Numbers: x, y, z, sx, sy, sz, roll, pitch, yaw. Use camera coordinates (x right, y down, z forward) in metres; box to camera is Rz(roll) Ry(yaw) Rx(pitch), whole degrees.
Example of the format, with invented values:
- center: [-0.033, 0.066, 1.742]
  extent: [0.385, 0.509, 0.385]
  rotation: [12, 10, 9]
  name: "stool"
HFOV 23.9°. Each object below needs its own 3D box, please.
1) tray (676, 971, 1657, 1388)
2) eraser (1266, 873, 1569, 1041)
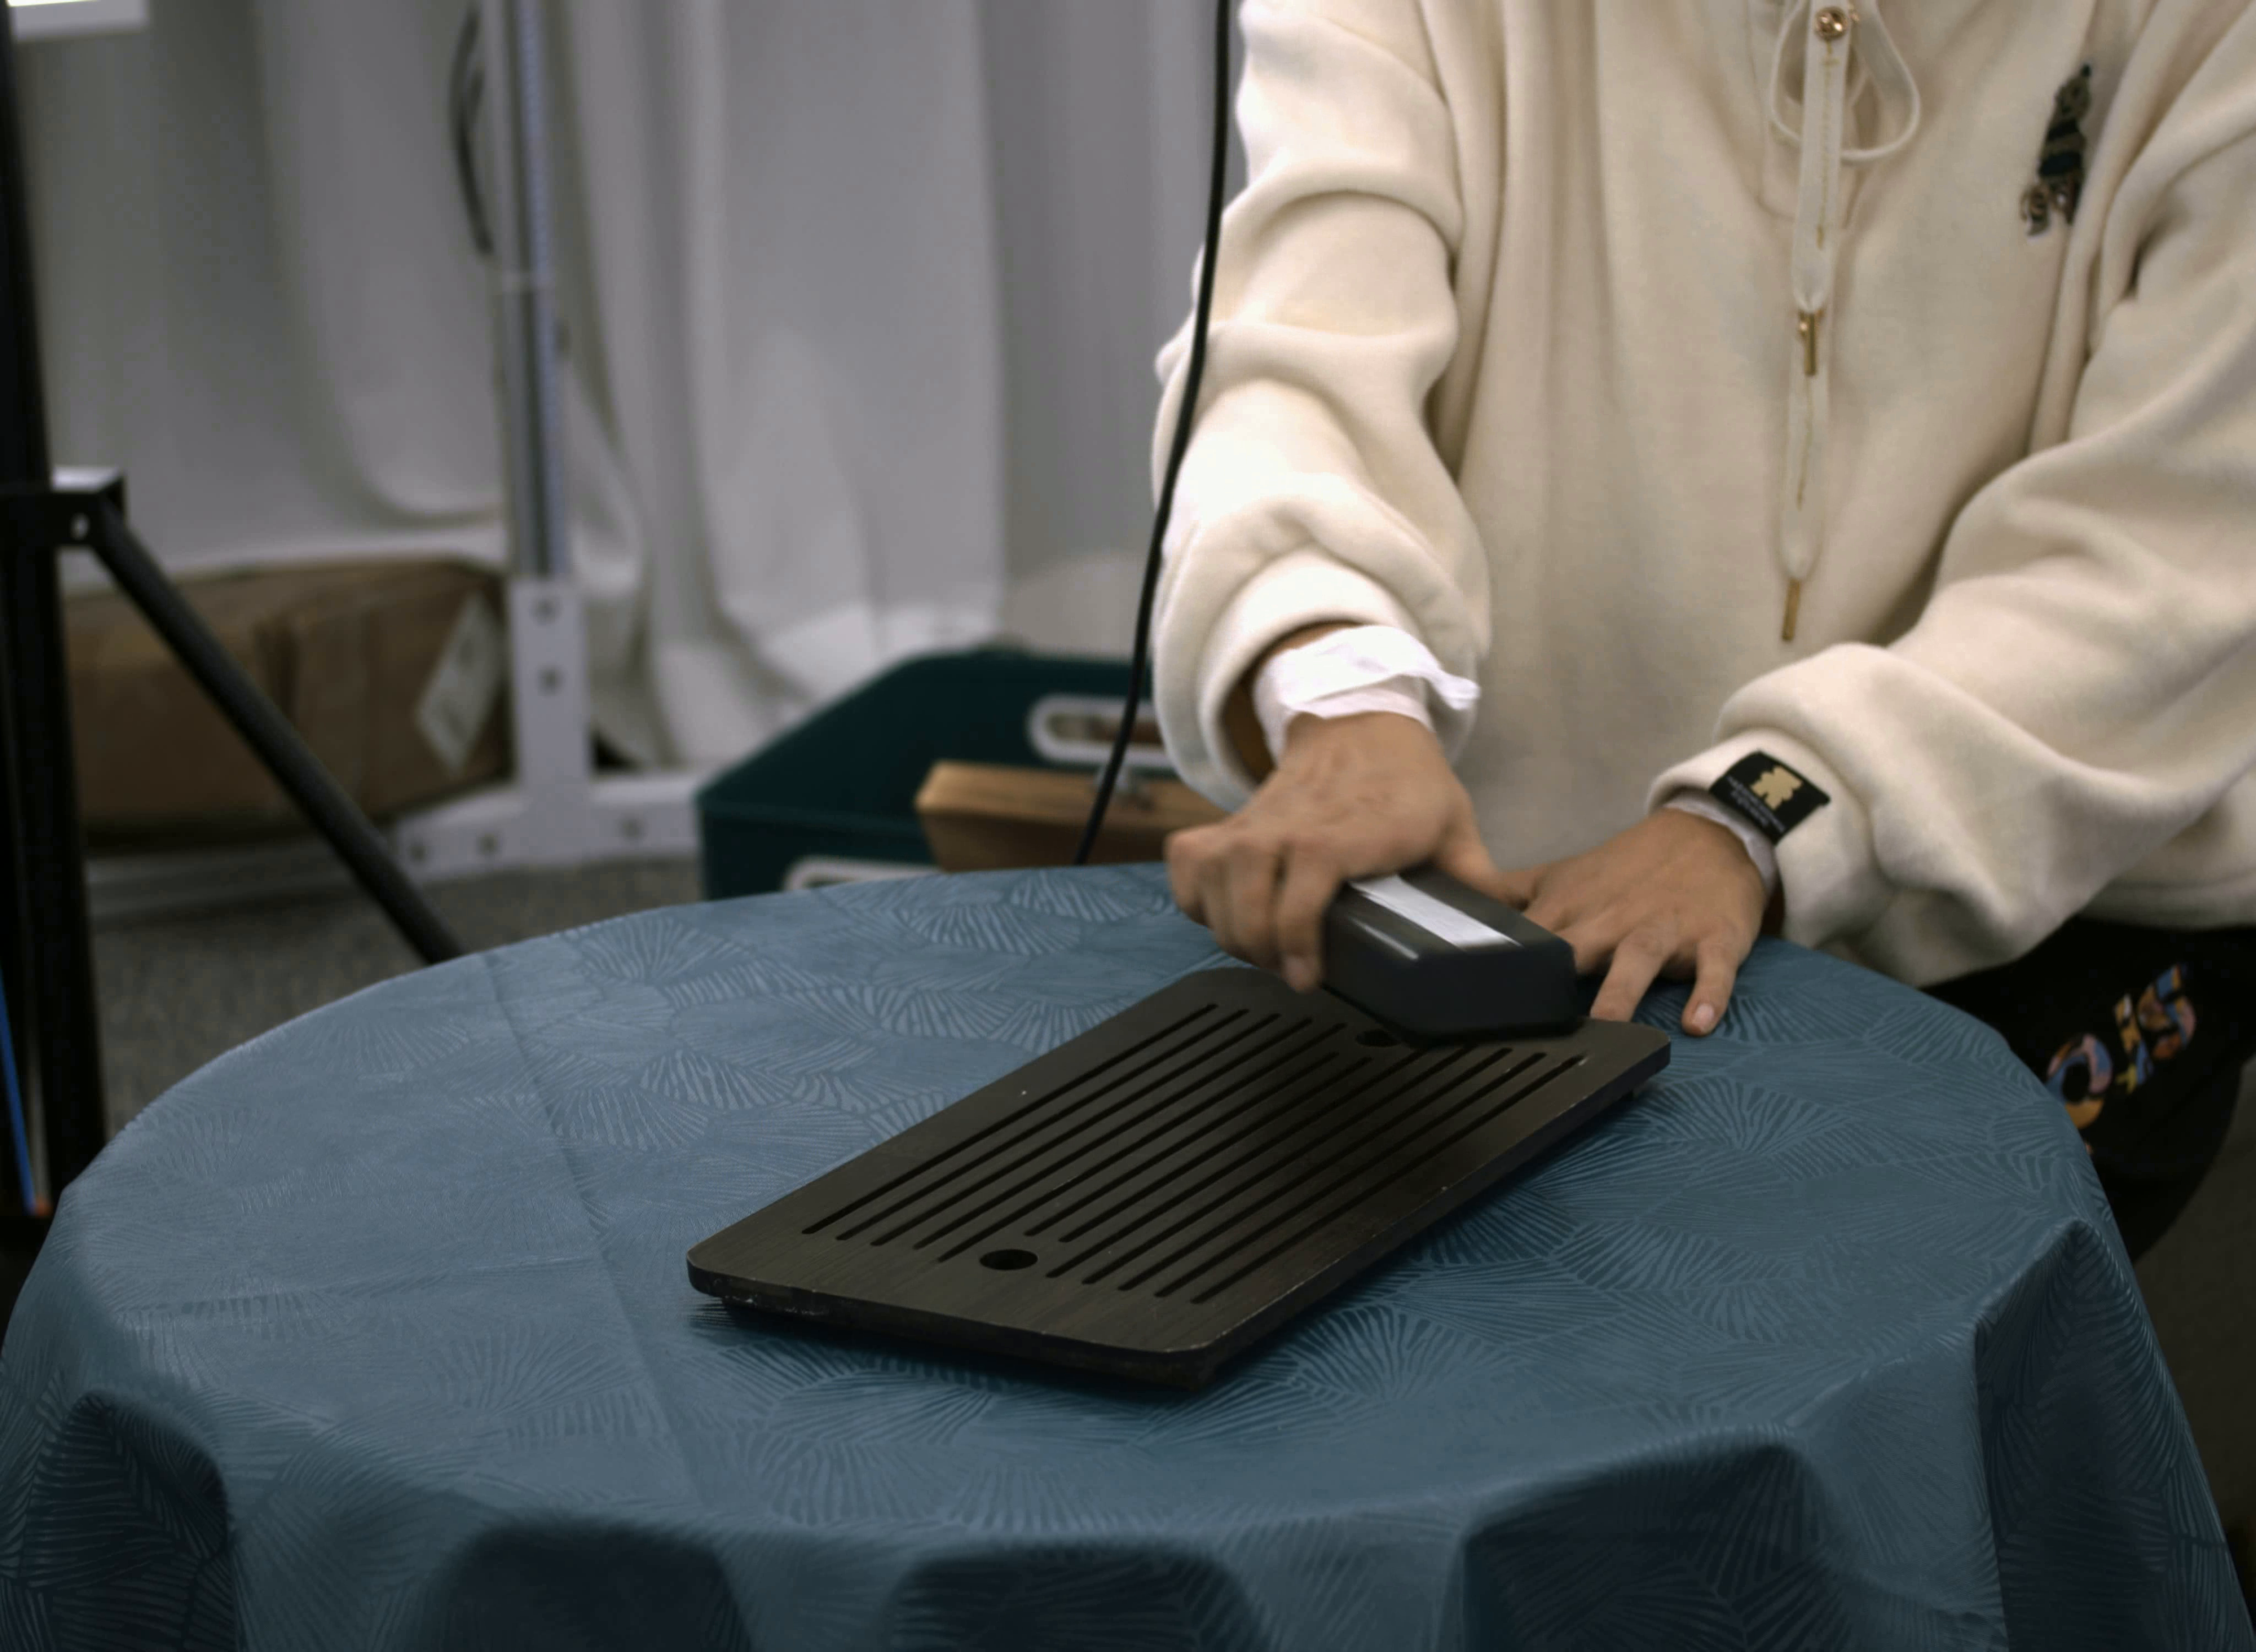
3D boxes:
- center: [0.018, 0.100, 1.551]
  extent: [0.173, 0.018, 0.300]
  rotation: [7, 18, 31]
  name: "tray"
- center: [0.083, 0.038, 1.547]
  extent: [0.052, 0.030, 0.127]
  rotation: [-2, 9, -15]
  name: "eraser"
